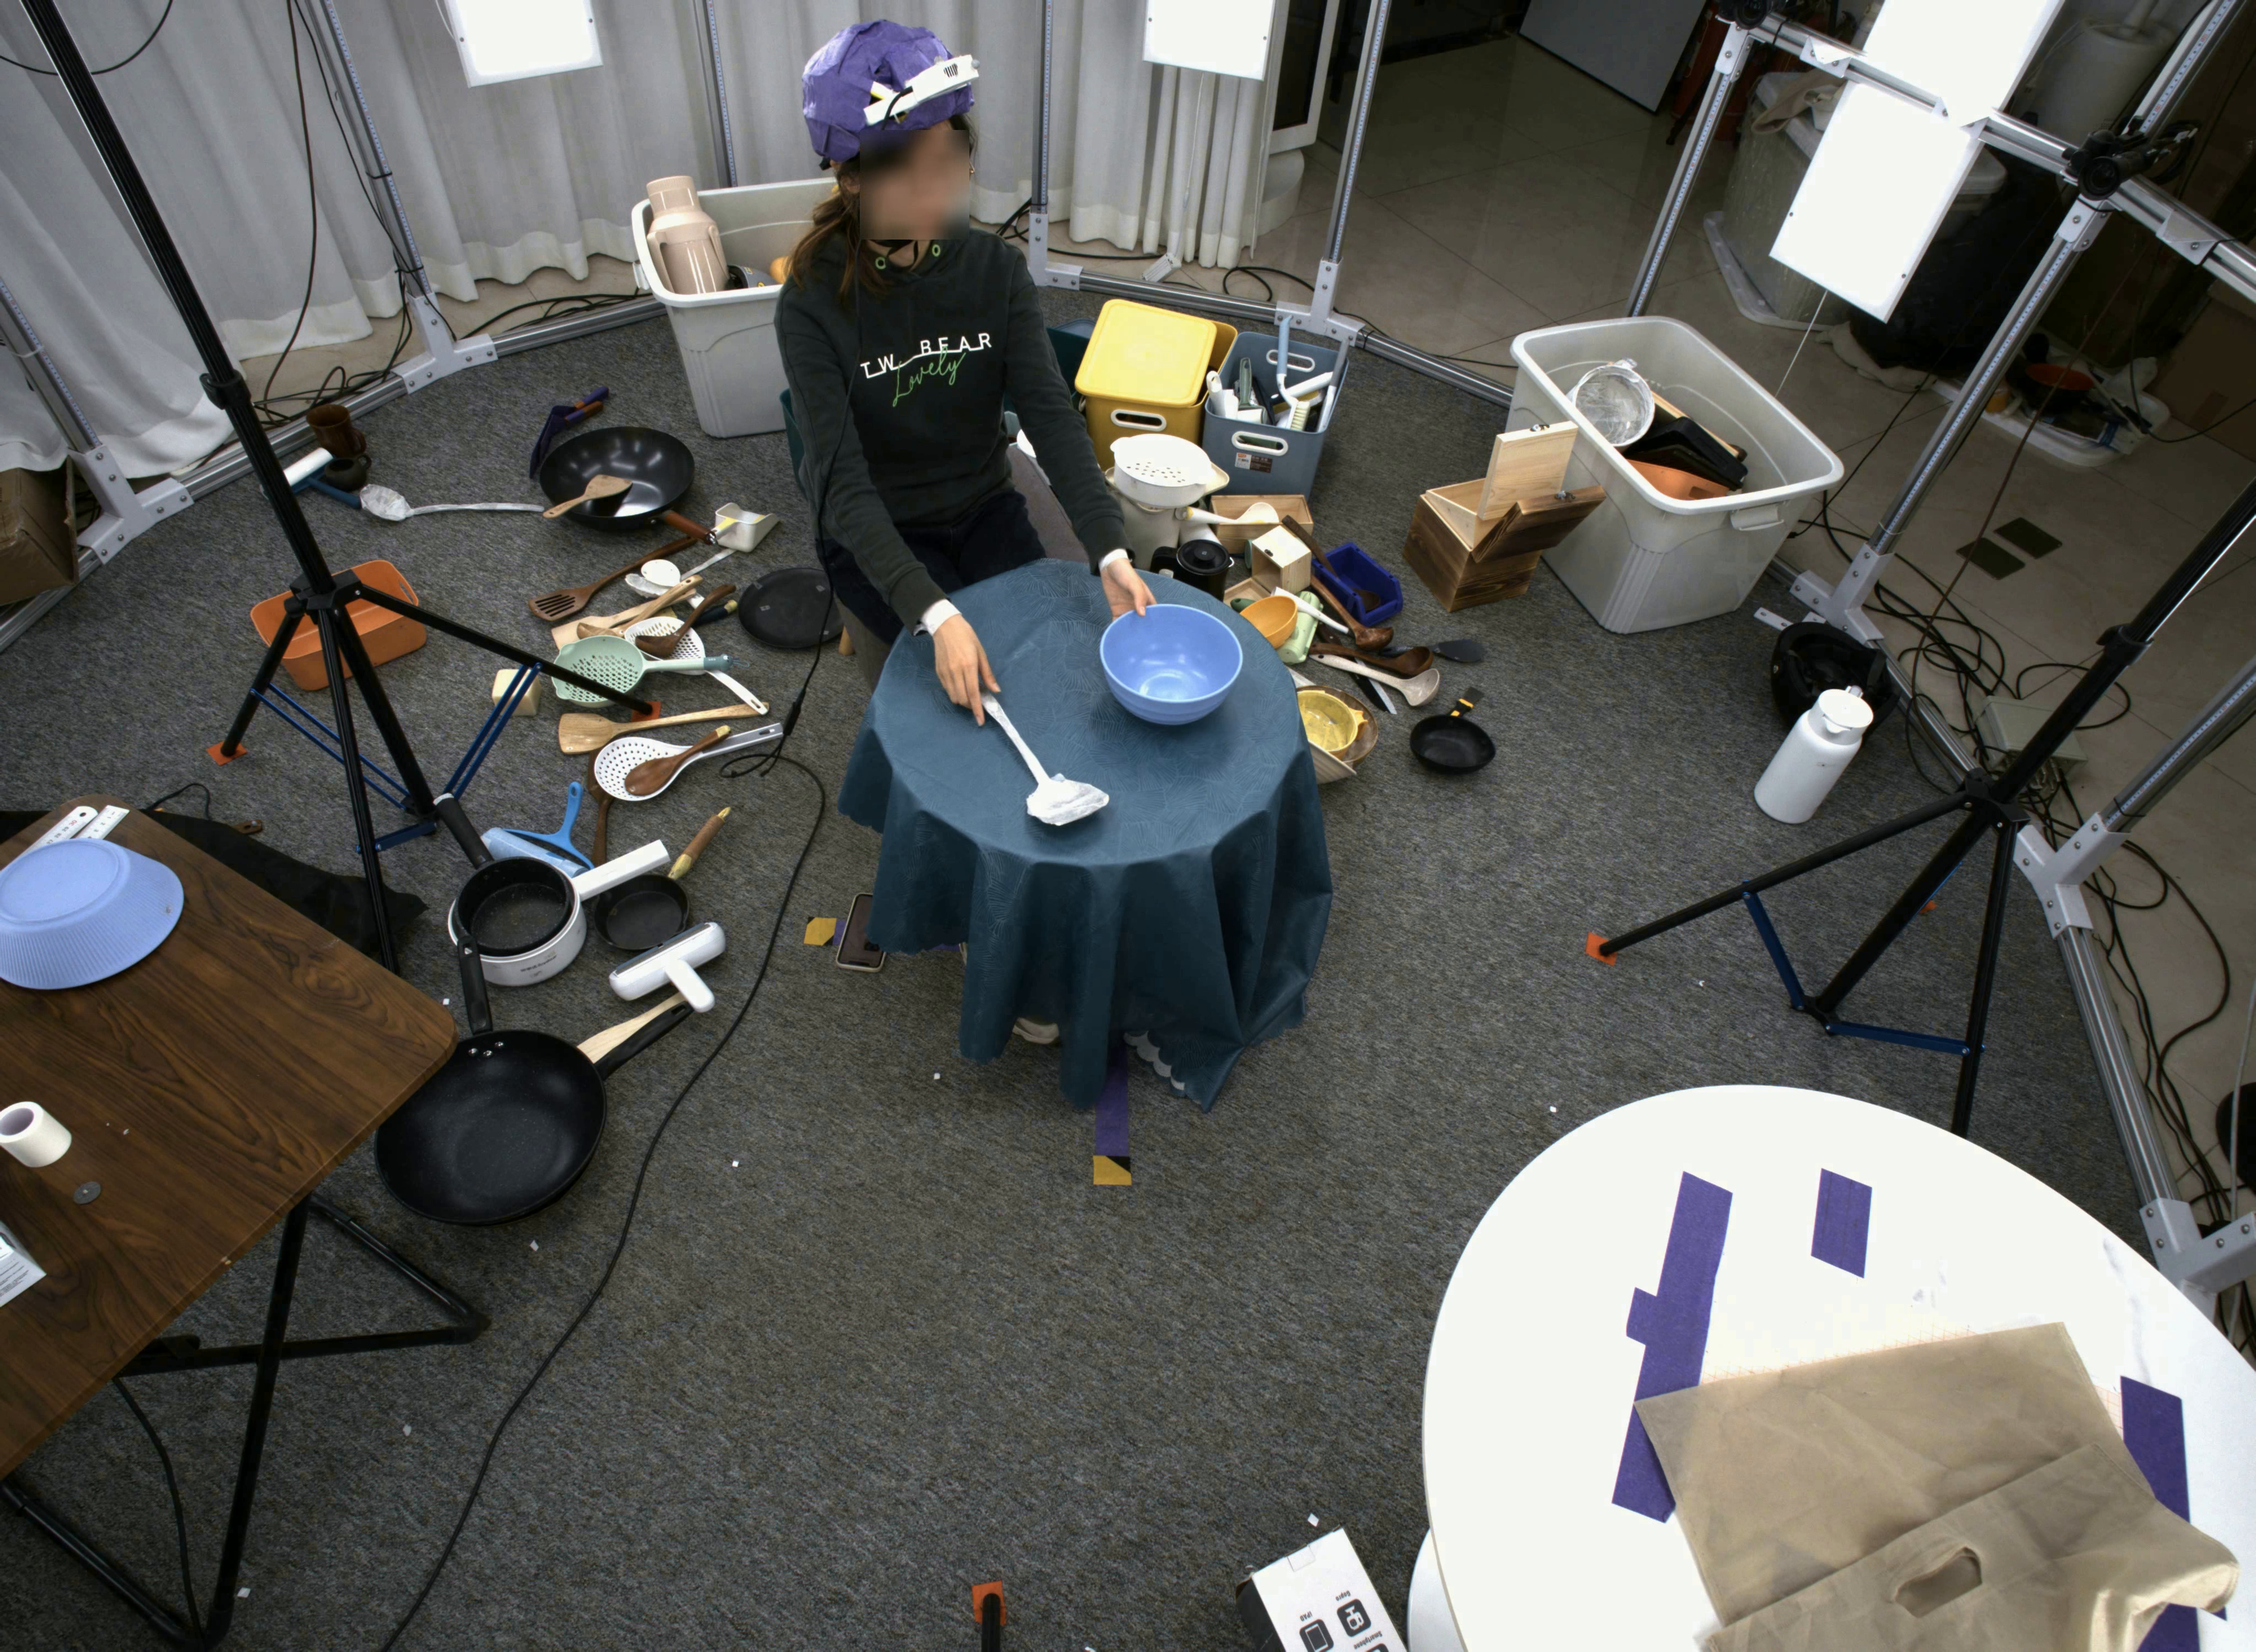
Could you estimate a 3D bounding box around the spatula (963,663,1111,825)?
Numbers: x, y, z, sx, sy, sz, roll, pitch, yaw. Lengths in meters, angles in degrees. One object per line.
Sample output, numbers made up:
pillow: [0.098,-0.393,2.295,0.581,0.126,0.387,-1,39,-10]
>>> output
spatula: [-0.147,-0.123,1.756,0.099,0.043,0.372,-23,54,-20]

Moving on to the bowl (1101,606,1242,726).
bowl: [0.058,-0.210,1.810,0.196,0.093,0.201,1,50,-2]
